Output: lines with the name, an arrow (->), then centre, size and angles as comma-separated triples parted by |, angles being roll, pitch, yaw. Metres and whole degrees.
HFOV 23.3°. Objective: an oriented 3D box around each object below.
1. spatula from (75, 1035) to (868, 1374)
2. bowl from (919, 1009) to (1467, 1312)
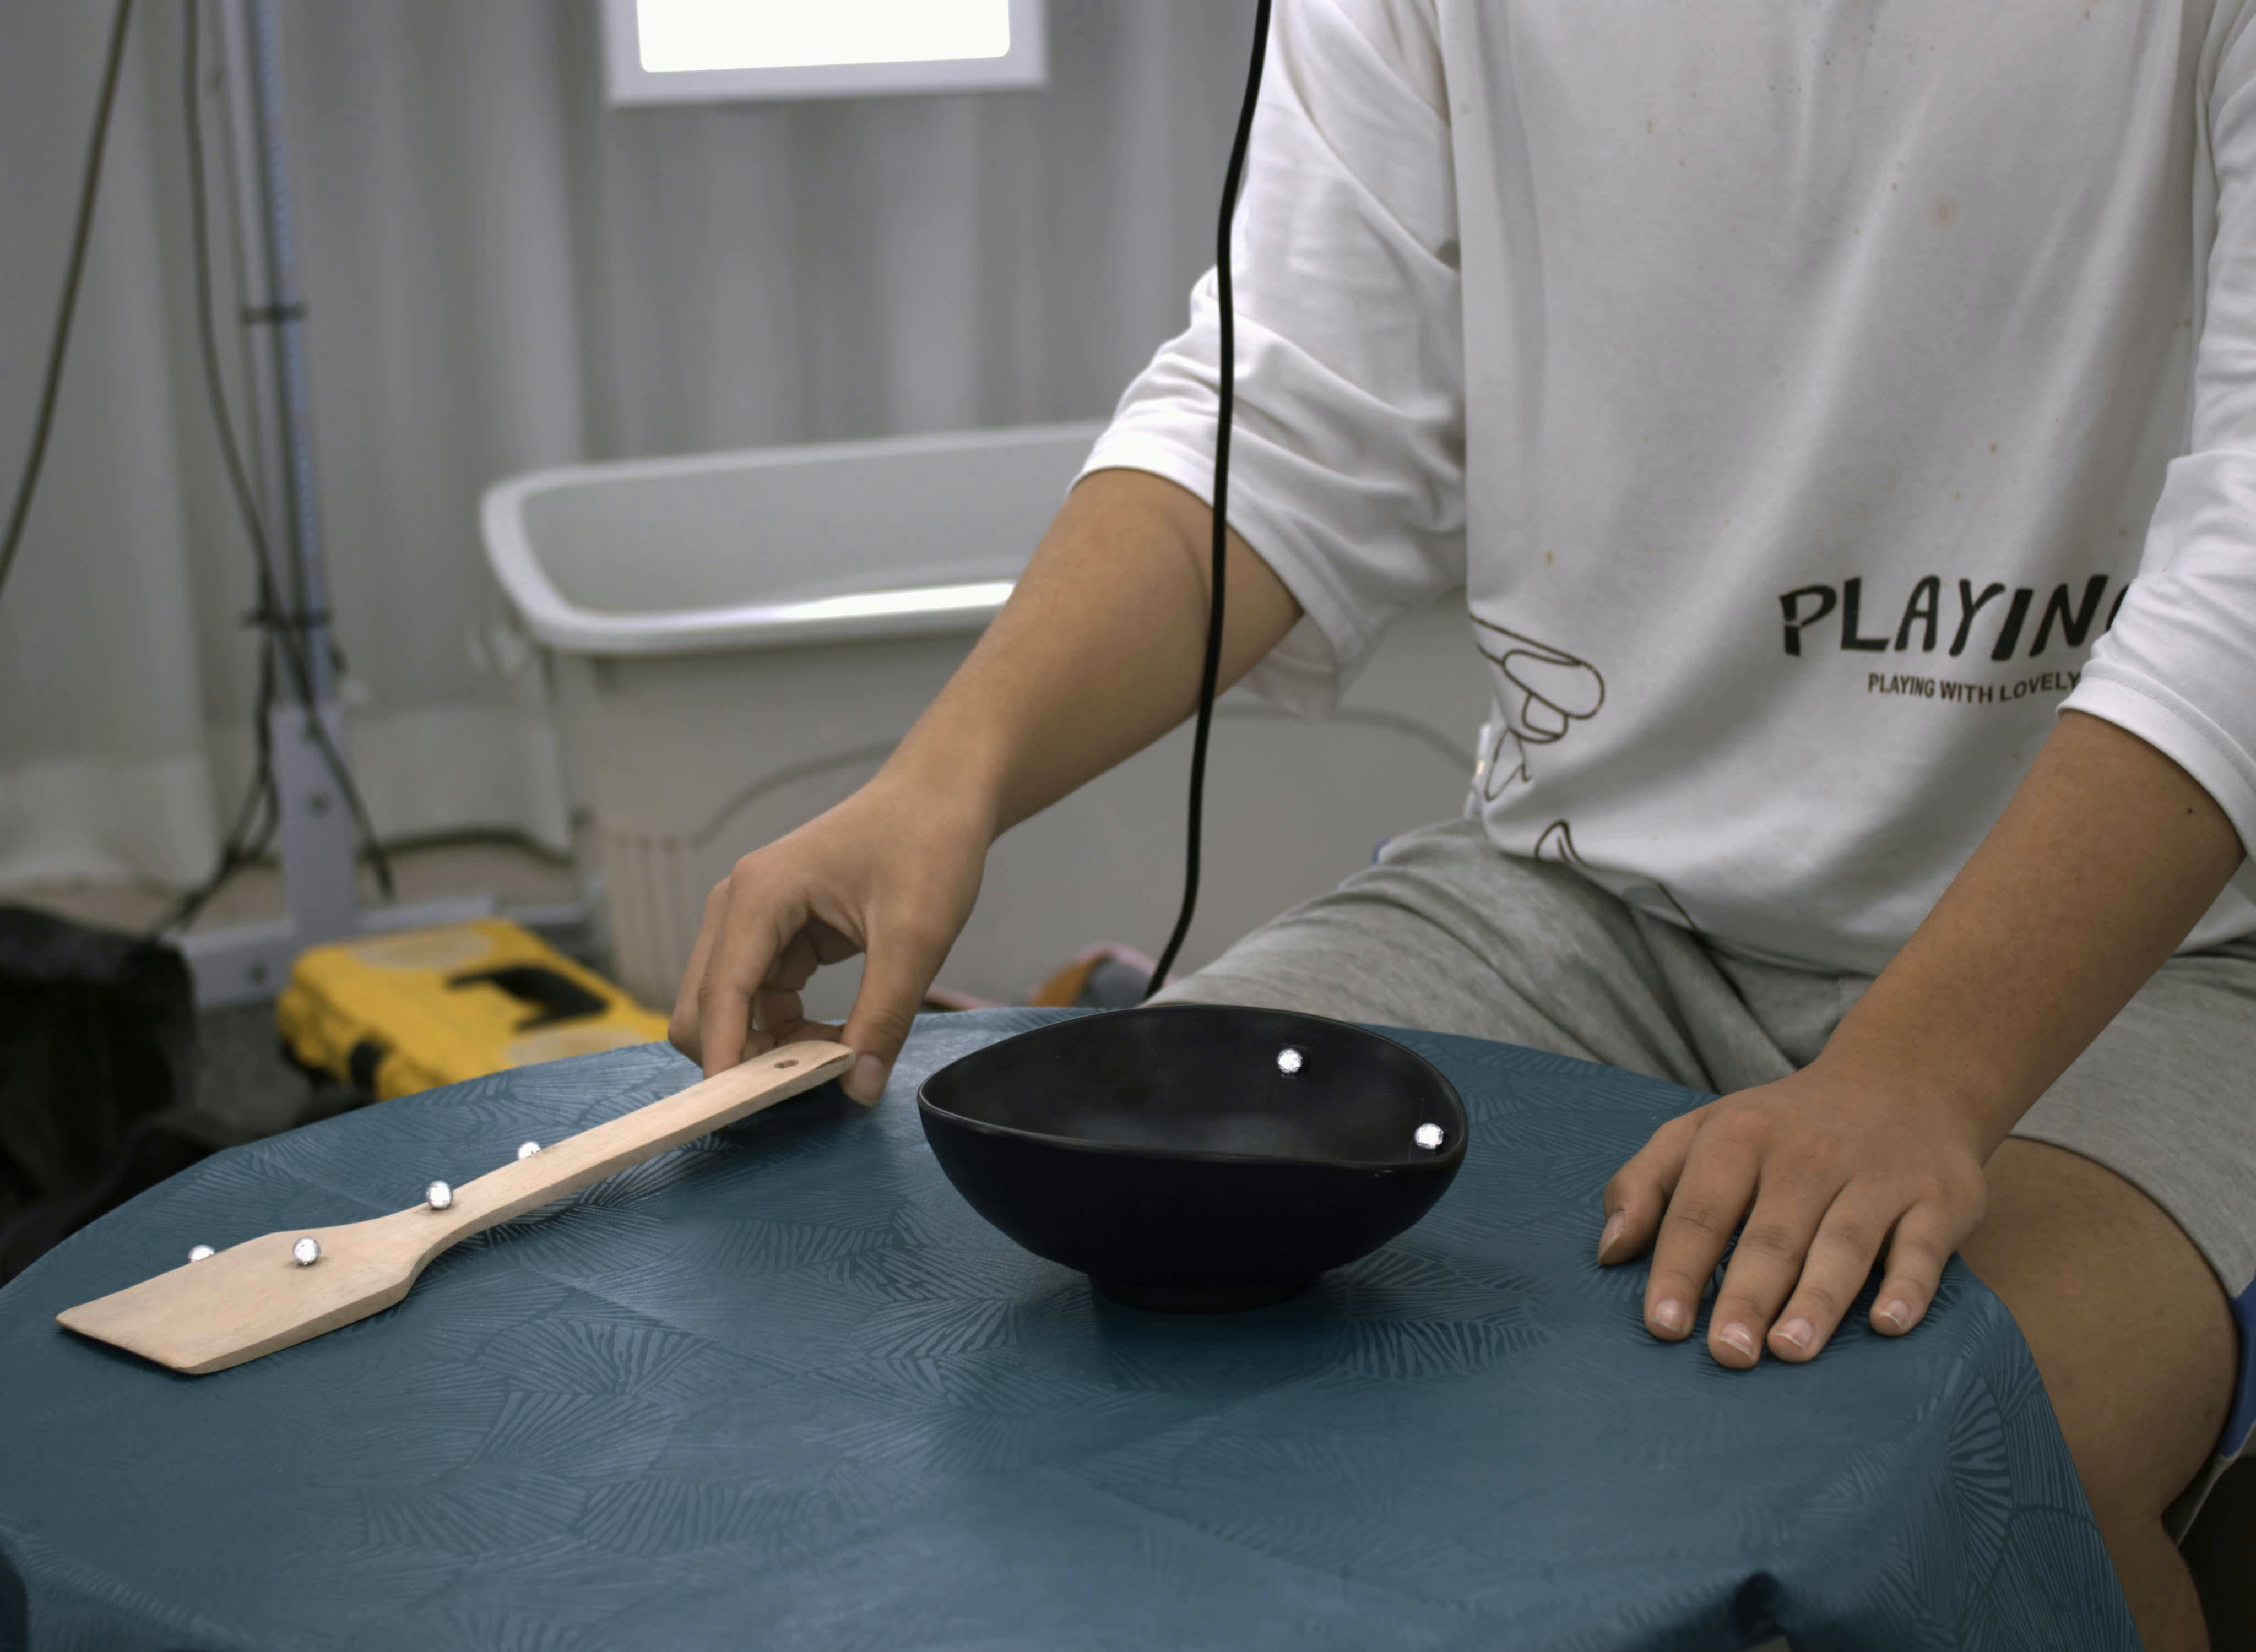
spatula -> -0.193, 0.114, 1.709 | 0.072, 0.010, 0.293 | 11, 25, 43
bowl -> 0.020, 0.104, 1.632 | 0.170, 0.066, 0.137 | 5, 16, 21
